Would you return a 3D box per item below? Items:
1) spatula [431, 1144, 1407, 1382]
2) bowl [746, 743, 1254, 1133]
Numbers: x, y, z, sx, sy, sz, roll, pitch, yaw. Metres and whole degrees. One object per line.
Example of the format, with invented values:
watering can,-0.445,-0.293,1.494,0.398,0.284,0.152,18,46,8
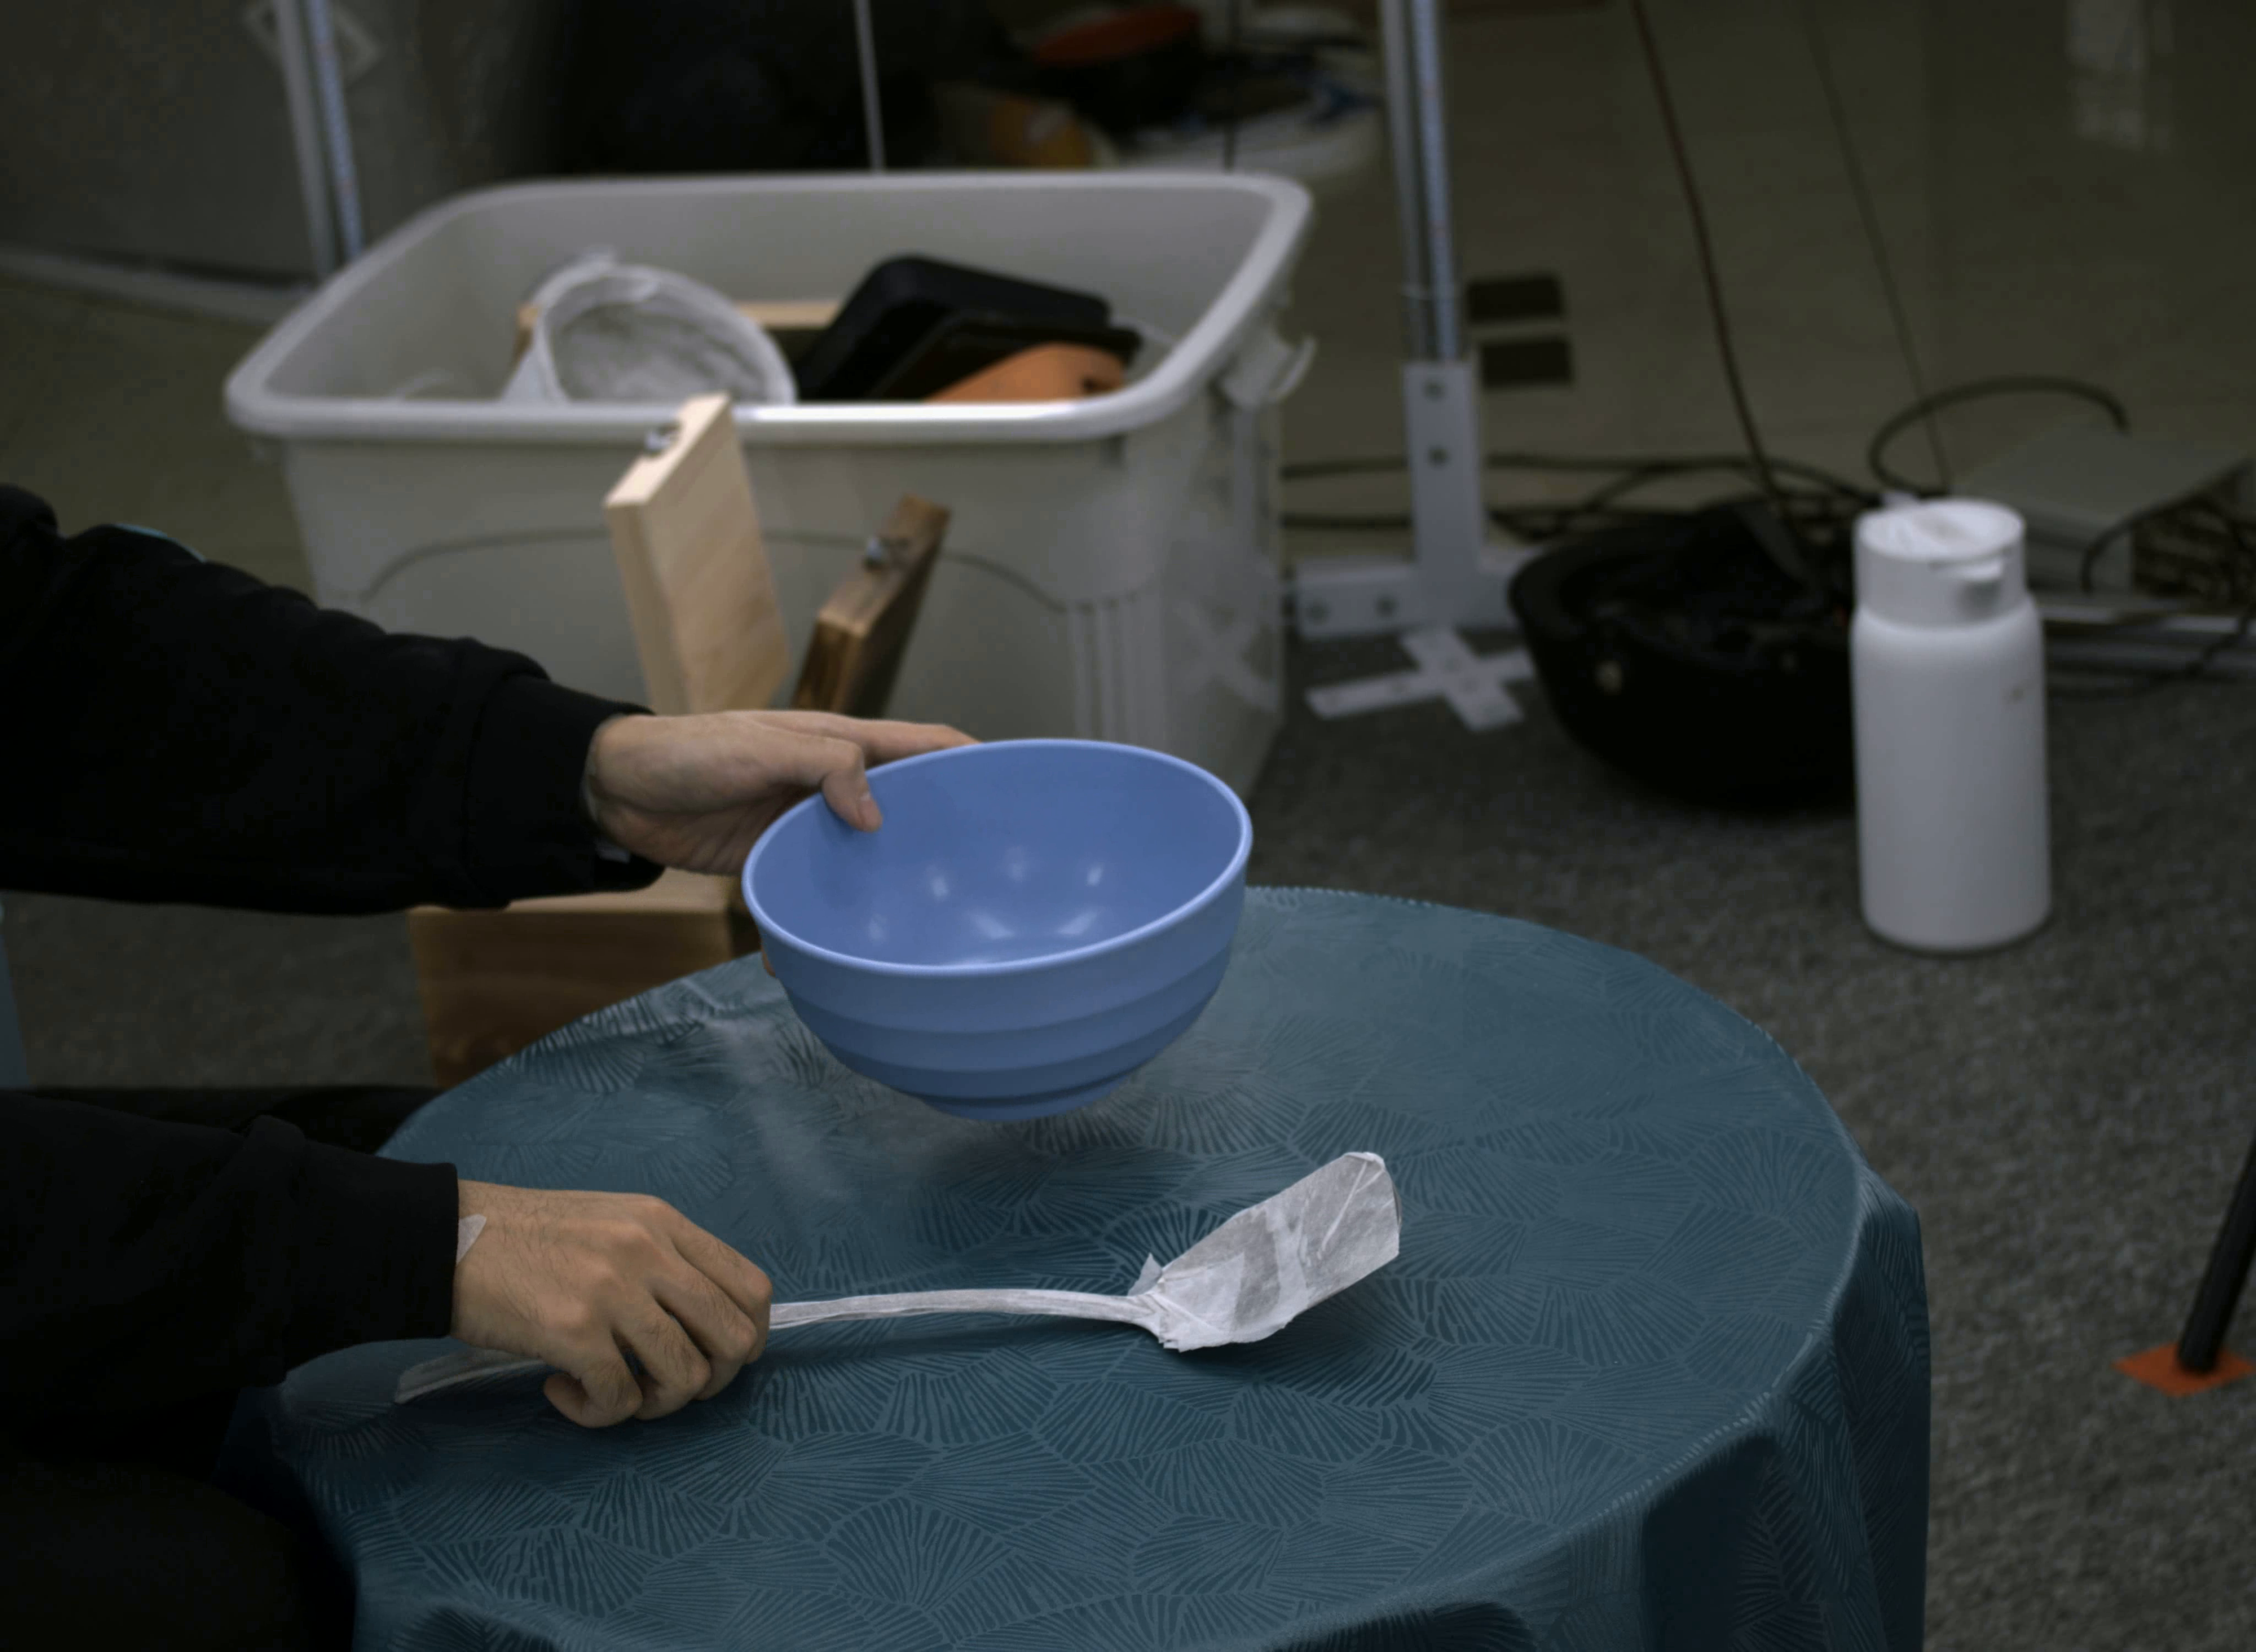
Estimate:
spatula,-0.078,0.169,2.062,0.364,0.045,0.097,-5,27,3
bowl,-0.043,0.055,2.184,0.196,0.097,0.193,-7,28,4
